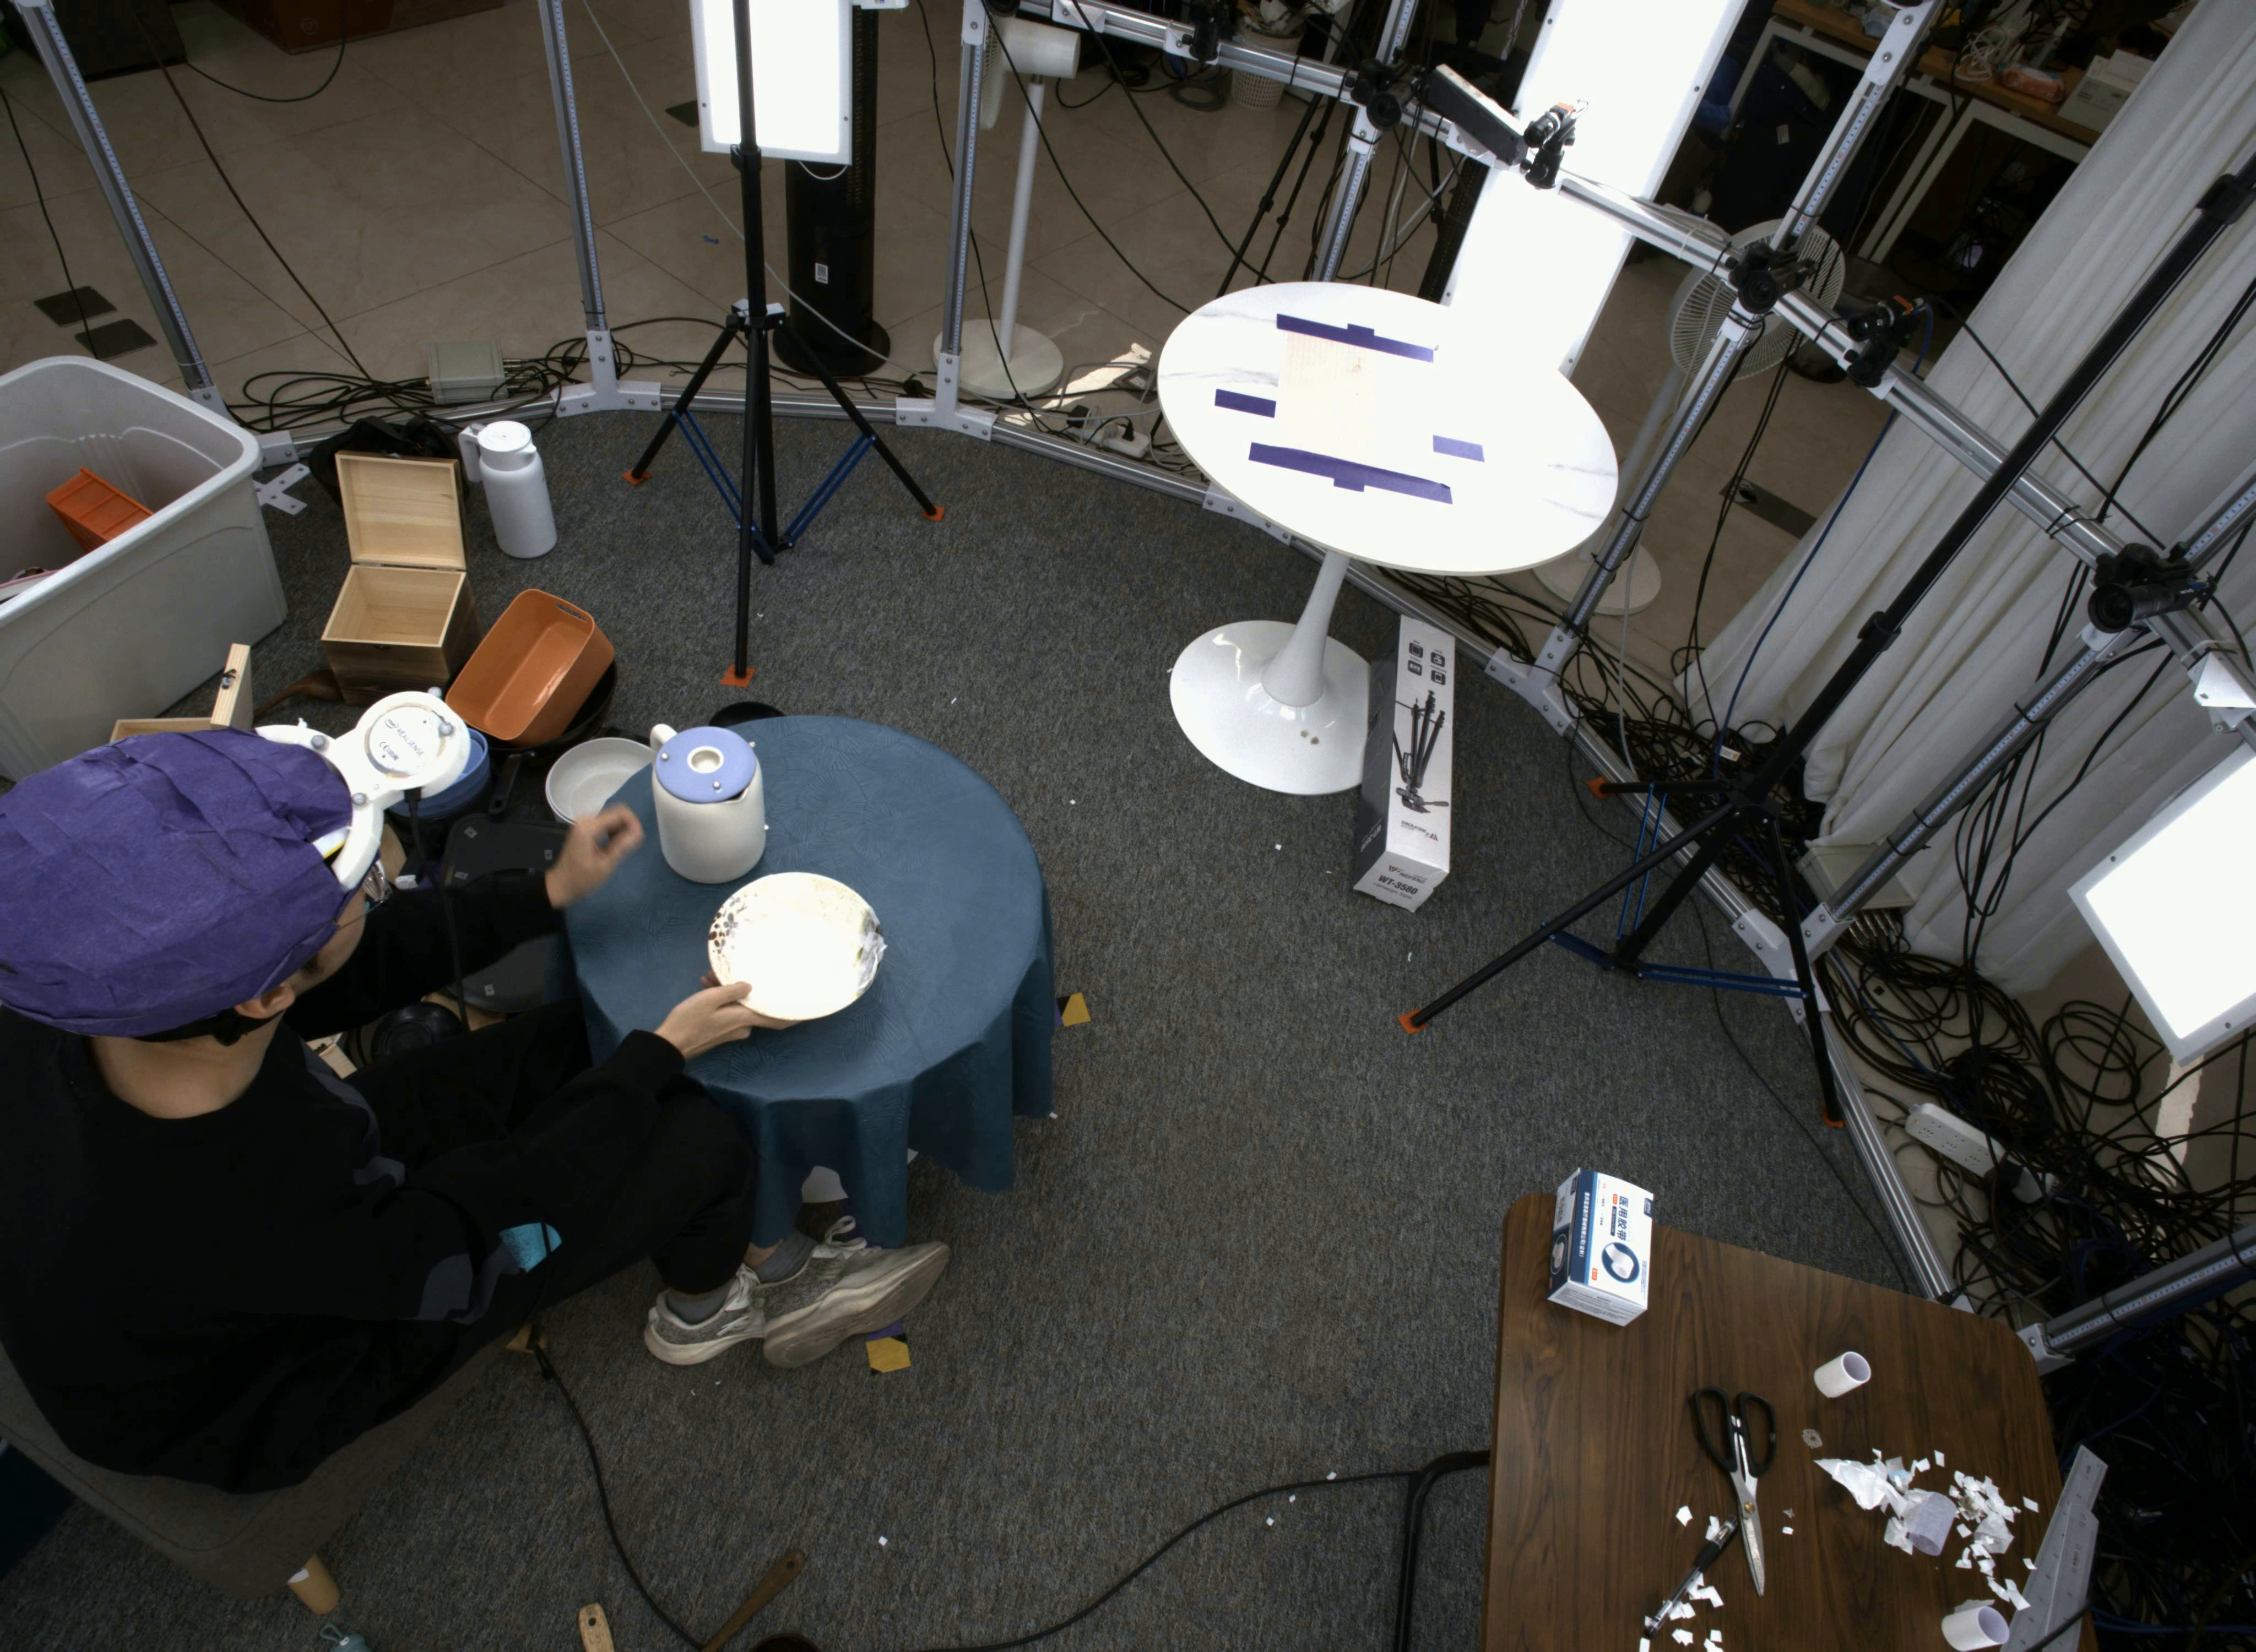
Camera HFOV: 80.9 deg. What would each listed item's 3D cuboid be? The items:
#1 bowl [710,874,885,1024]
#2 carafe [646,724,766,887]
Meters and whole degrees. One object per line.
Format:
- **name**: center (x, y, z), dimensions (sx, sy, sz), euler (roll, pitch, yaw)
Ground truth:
- **bowl**: center (-0.396, 0.161, 1.563), dimensions (0.203, 0.079, 0.200), euler (7, 55, -9)
- **carafe**: center (-0.542, -0.041, 1.619), dimensions (0.186, 0.187, 0.132), euler (37, 53, 18)
